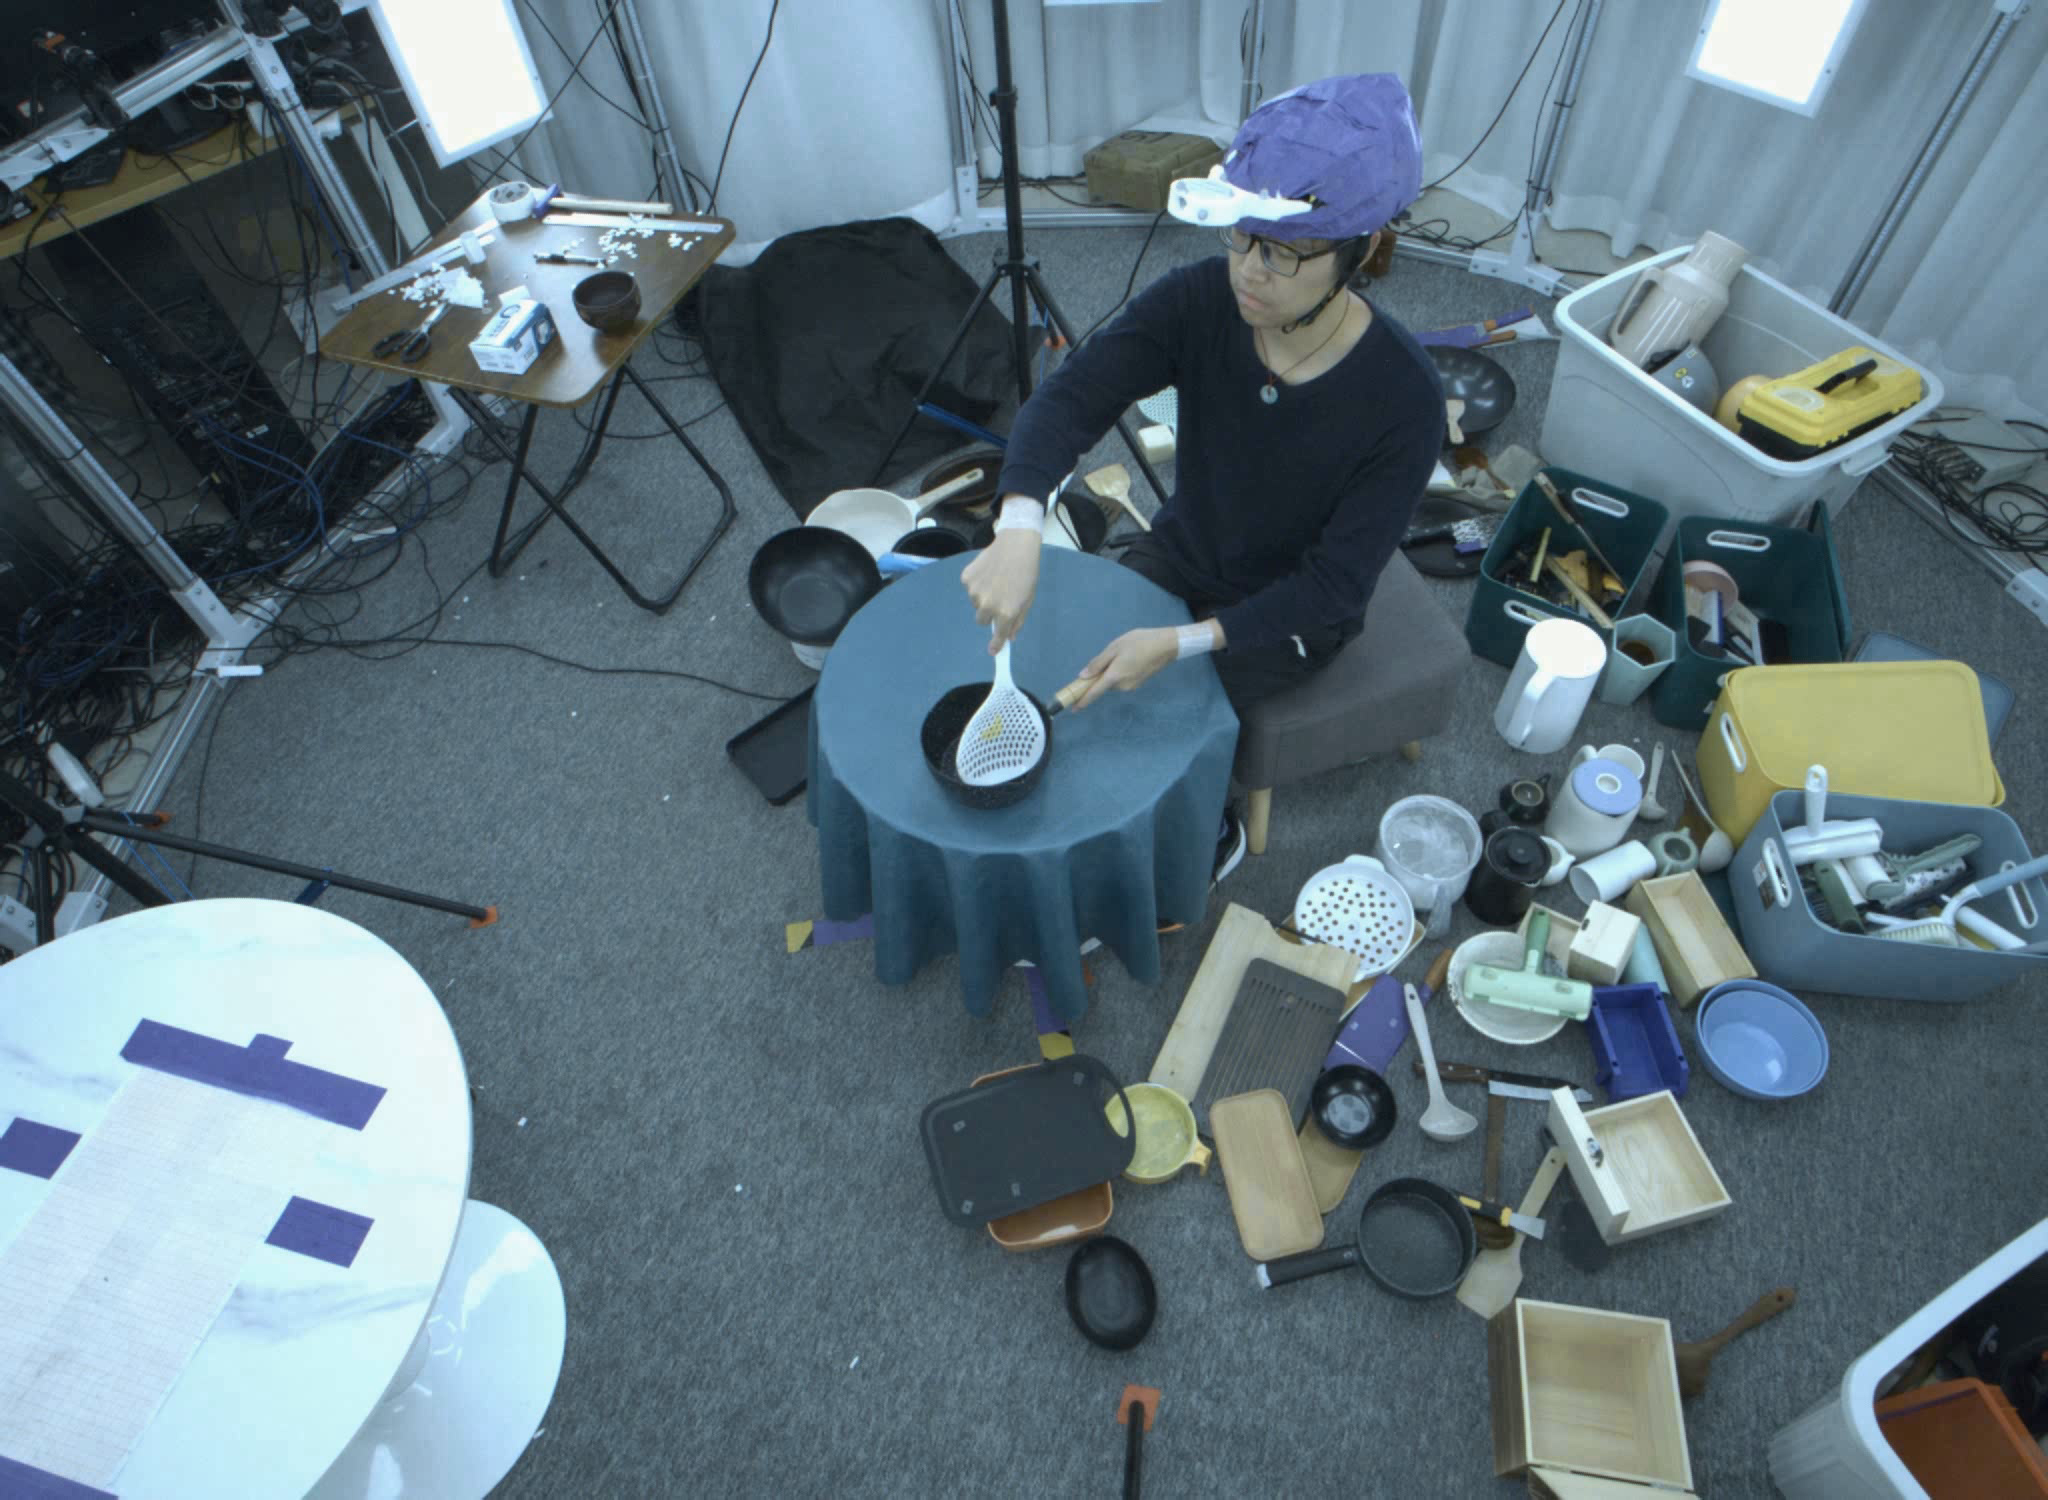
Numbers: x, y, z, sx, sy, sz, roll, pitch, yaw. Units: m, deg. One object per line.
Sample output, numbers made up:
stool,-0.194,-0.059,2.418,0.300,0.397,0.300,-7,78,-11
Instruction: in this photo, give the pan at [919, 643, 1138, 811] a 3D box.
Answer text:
pan,0.016,-0.043,1.751,0.345,0.109,0.203,-29,57,-16

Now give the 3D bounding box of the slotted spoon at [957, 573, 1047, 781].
slotted spoon,-0.035,-0.087,1.626,0.138,0.351,0.049,-19,52,-18
